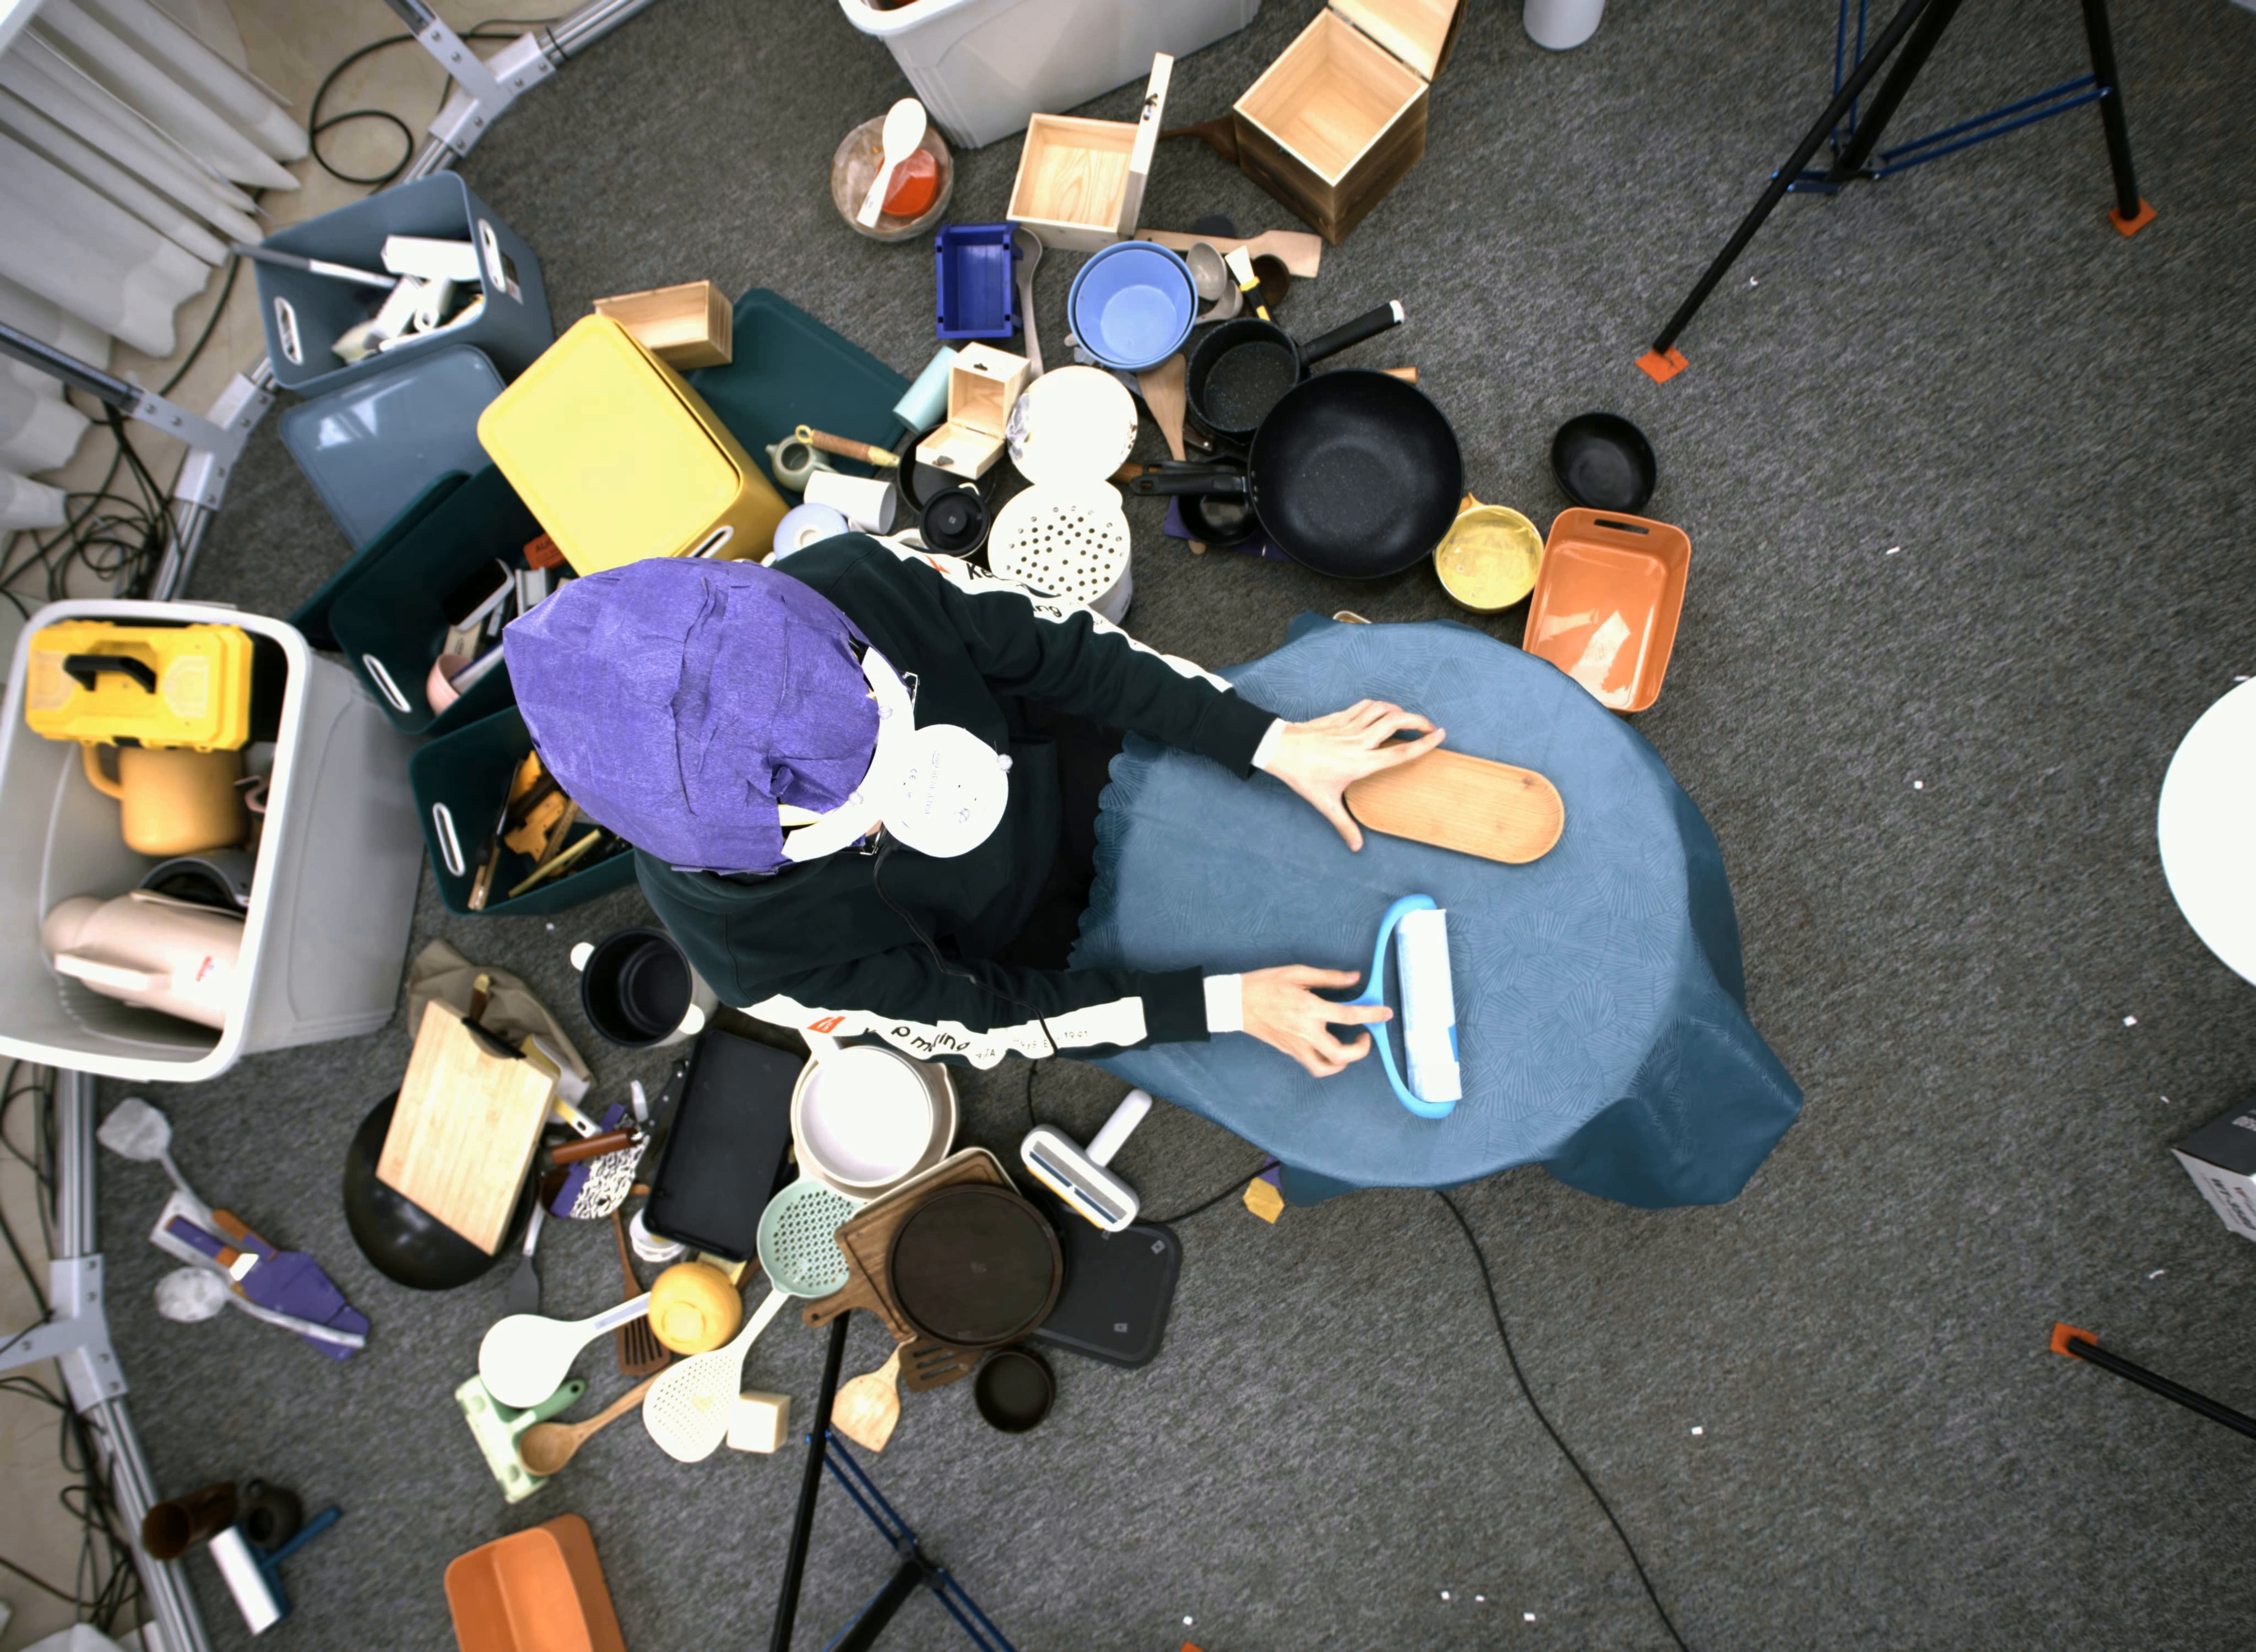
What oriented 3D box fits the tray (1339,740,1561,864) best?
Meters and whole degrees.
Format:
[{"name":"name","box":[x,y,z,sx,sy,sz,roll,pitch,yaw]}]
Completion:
[{"name":"tray","box":[0.336,-0.027,1.440,0.231,0.020,0.101,13,89,12]}]

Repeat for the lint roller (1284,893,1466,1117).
[{"name":"lint roller","box":[0.250,0.189,1.424,0.181,0.068,0.228,-8,87,9]}]
